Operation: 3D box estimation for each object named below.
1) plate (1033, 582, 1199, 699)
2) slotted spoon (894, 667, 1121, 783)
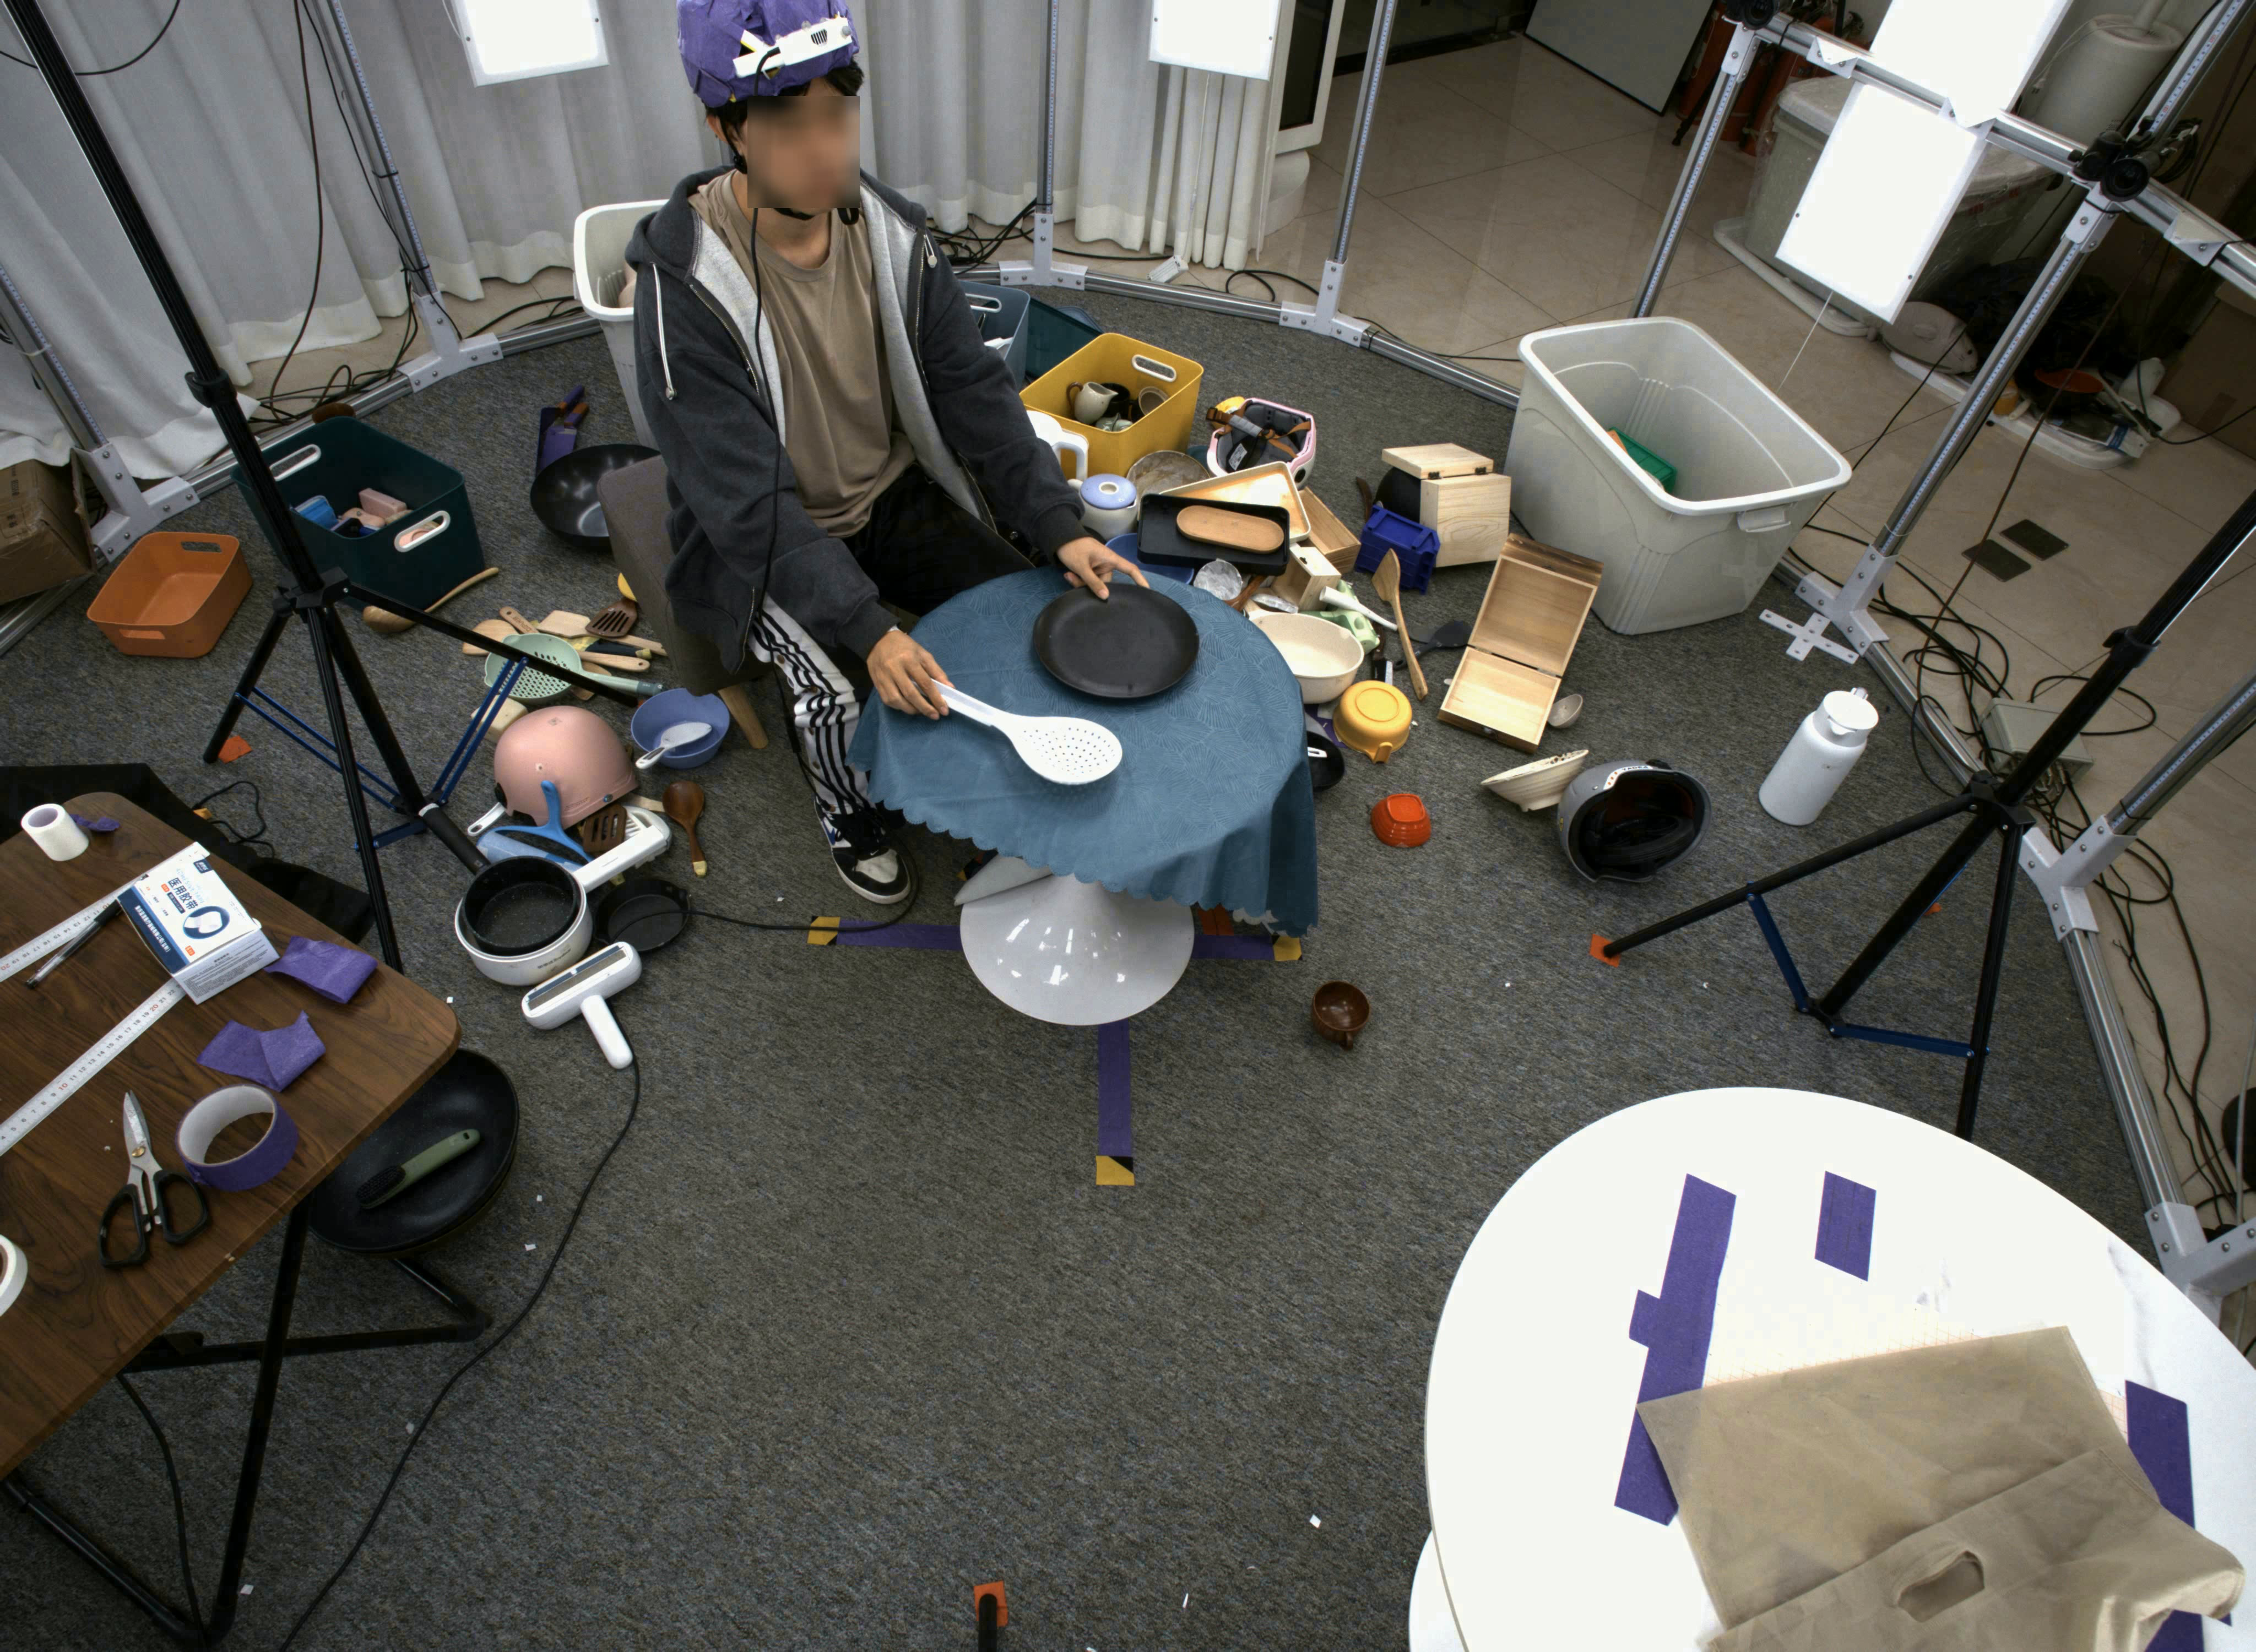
[{"bbox_3d":[-0.018,-0.269,1.882,0.244,0.023,0.250,2,50,-3],"label":"plate"},{"bbox_3d":[-0.170,-0.142,1.739,0.353,0.045,0.138,29,41,17],"label":"slotted spoon"}]
